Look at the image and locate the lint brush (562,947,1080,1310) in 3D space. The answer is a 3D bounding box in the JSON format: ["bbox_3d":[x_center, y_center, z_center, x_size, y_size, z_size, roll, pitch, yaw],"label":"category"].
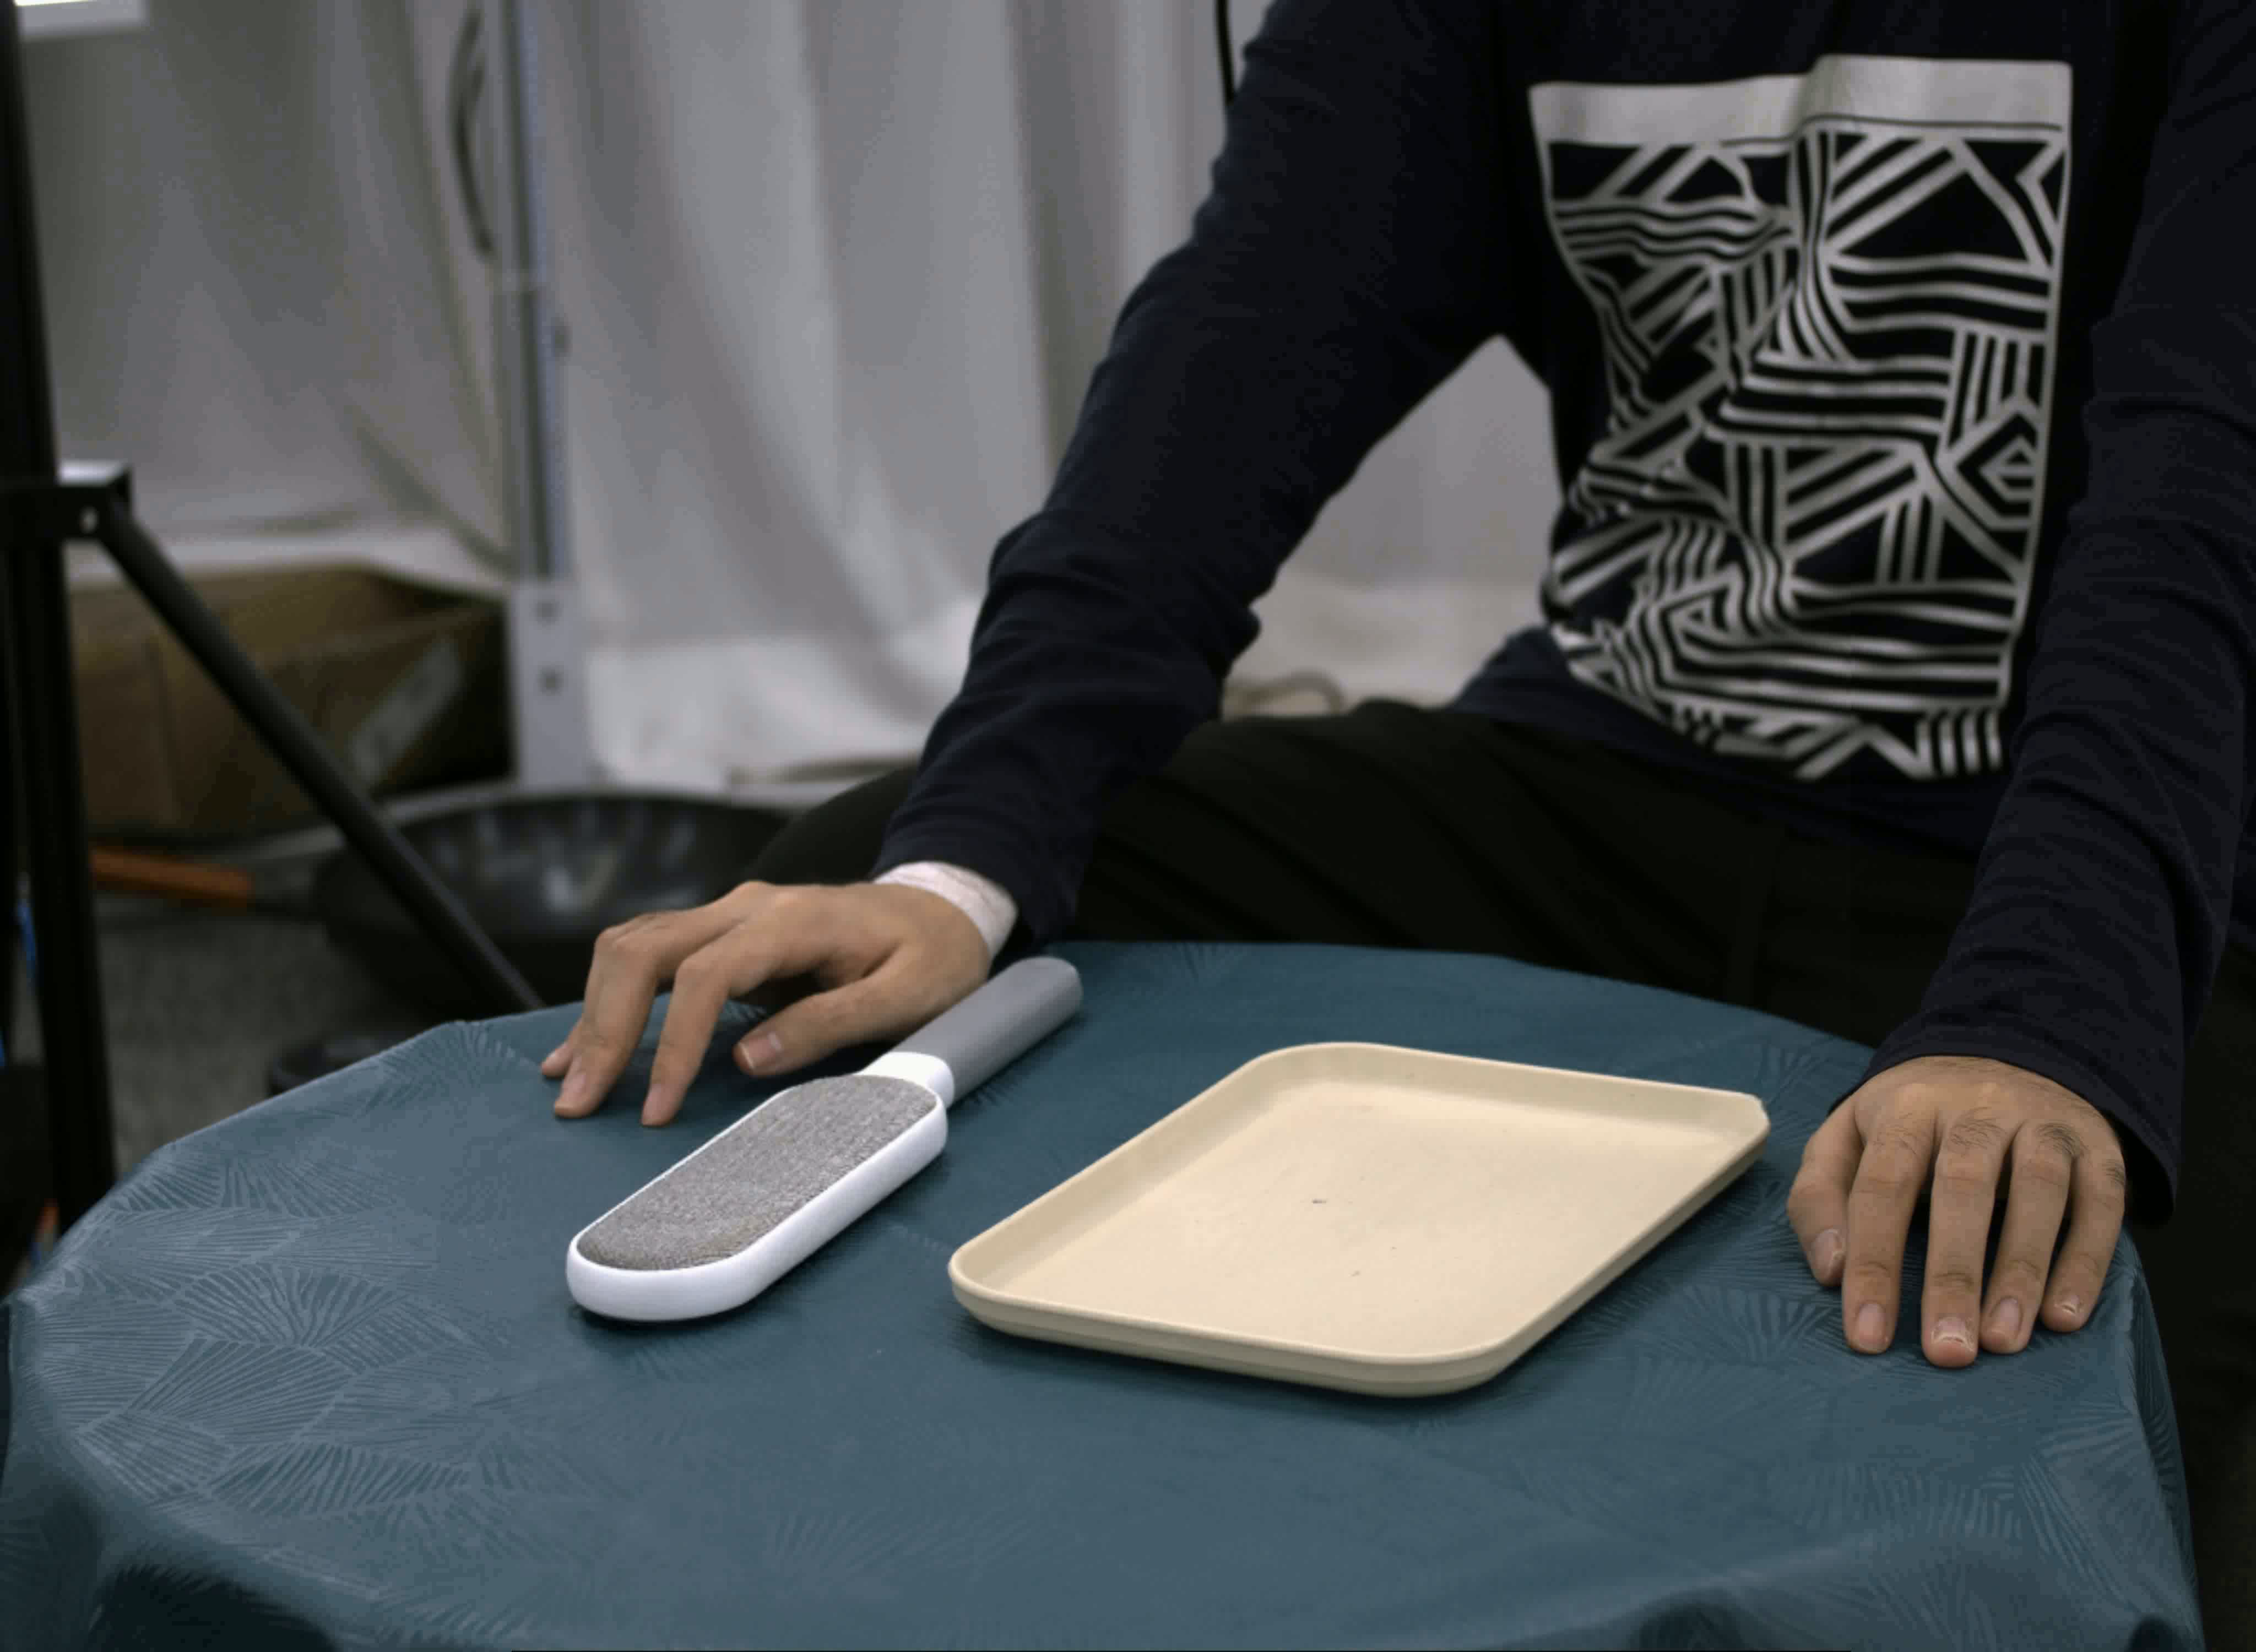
[{"bbox_3d":[-0.081,0.087,1.598,0.061,0.021,0.304,-1,15,24],"label":"lint brush"}]

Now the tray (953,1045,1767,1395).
[{"bbox_3d":[0.070,0.111,1.510,0.174,0.017,0.235,5,17,28],"label":"tray"}]
